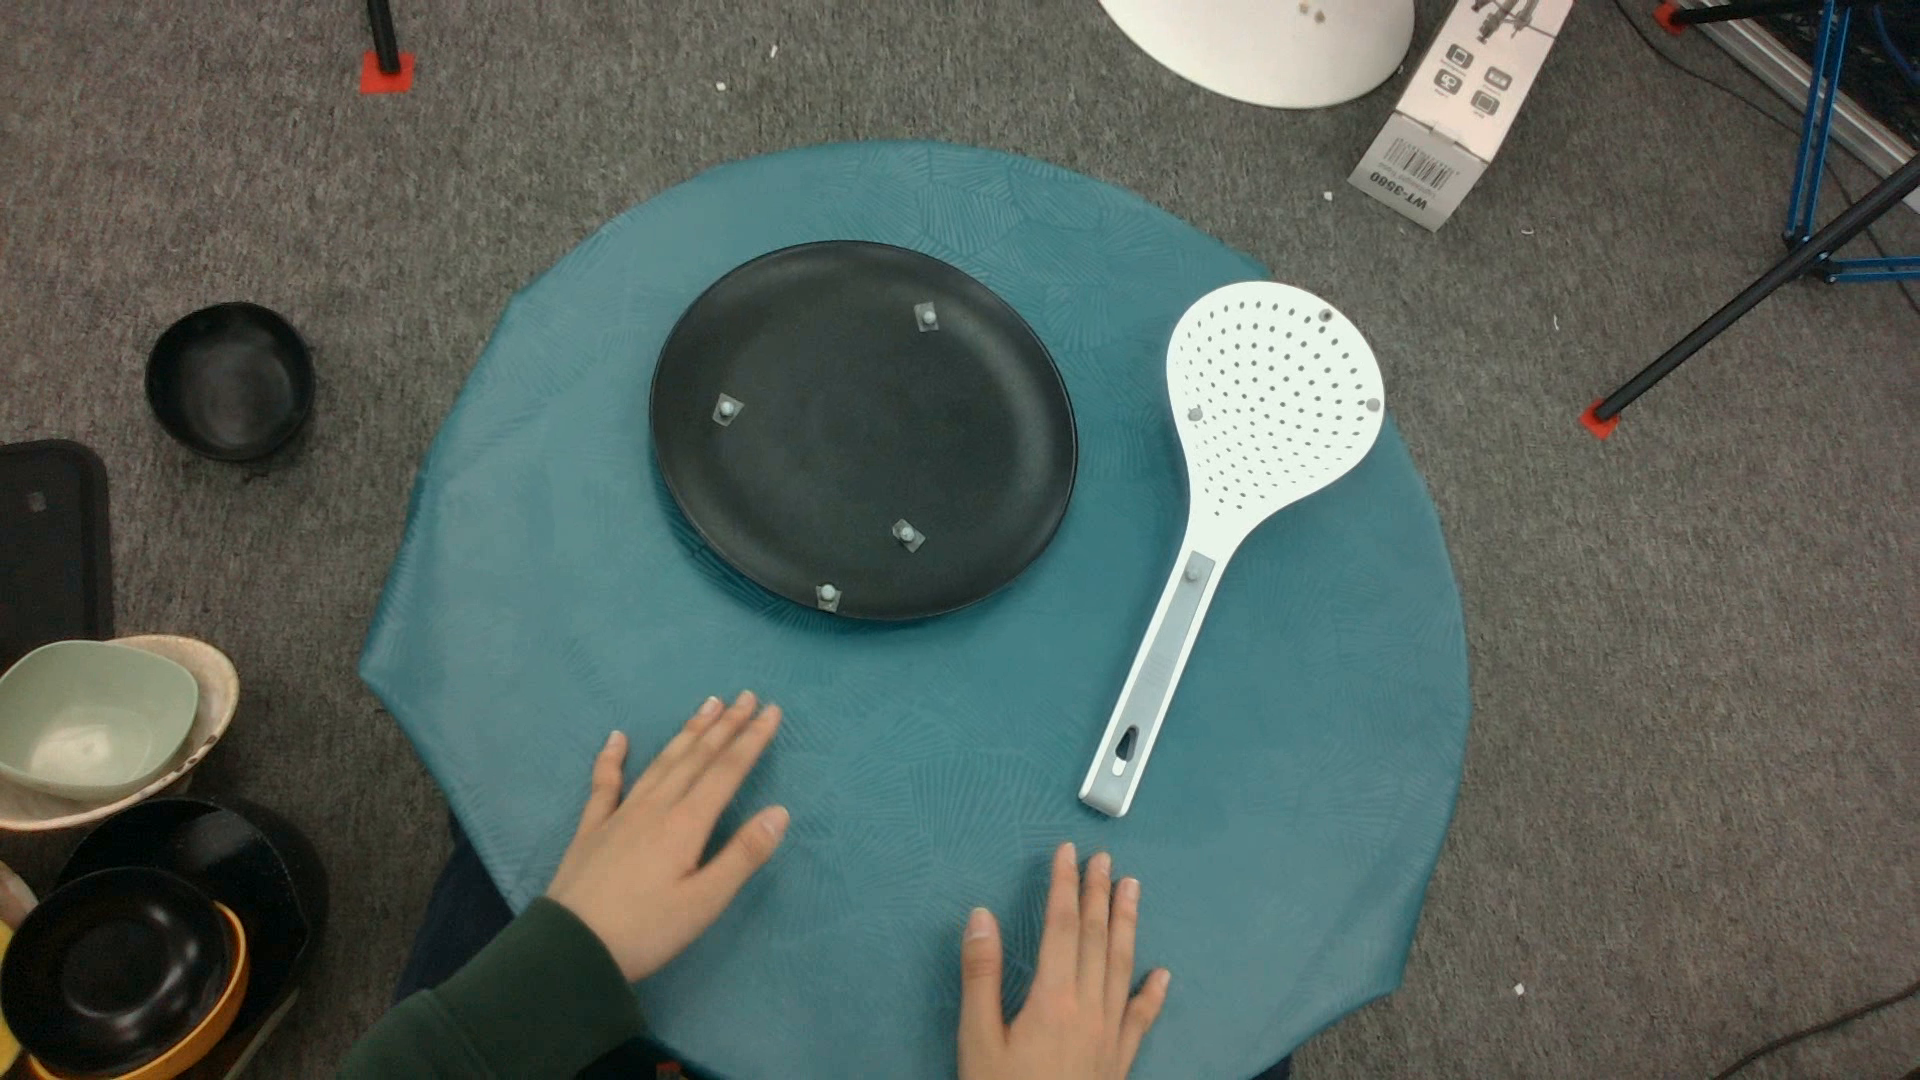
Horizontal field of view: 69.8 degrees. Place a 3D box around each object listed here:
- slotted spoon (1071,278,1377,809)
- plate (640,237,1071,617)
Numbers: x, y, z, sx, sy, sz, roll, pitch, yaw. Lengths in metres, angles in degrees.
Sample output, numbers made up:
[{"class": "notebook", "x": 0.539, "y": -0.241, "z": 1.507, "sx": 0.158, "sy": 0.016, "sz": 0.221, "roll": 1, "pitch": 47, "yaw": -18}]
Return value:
[{"class": "slotted spoon", "x": 0.141, "y": -0.007, "z": 0.790, "sx": 0.136, "sy": 0.045, "sz": 0.351, "roll": 26, "pitch": 62, "yaw": 0}, {"class": "plate", "x": -0.056, "y": -0.066, "z": 0.778, "sx": 0.244, "sy": 0.023, "sz": 0.245, "roll": 6, "pitch": 63, "yaw": -12}]
